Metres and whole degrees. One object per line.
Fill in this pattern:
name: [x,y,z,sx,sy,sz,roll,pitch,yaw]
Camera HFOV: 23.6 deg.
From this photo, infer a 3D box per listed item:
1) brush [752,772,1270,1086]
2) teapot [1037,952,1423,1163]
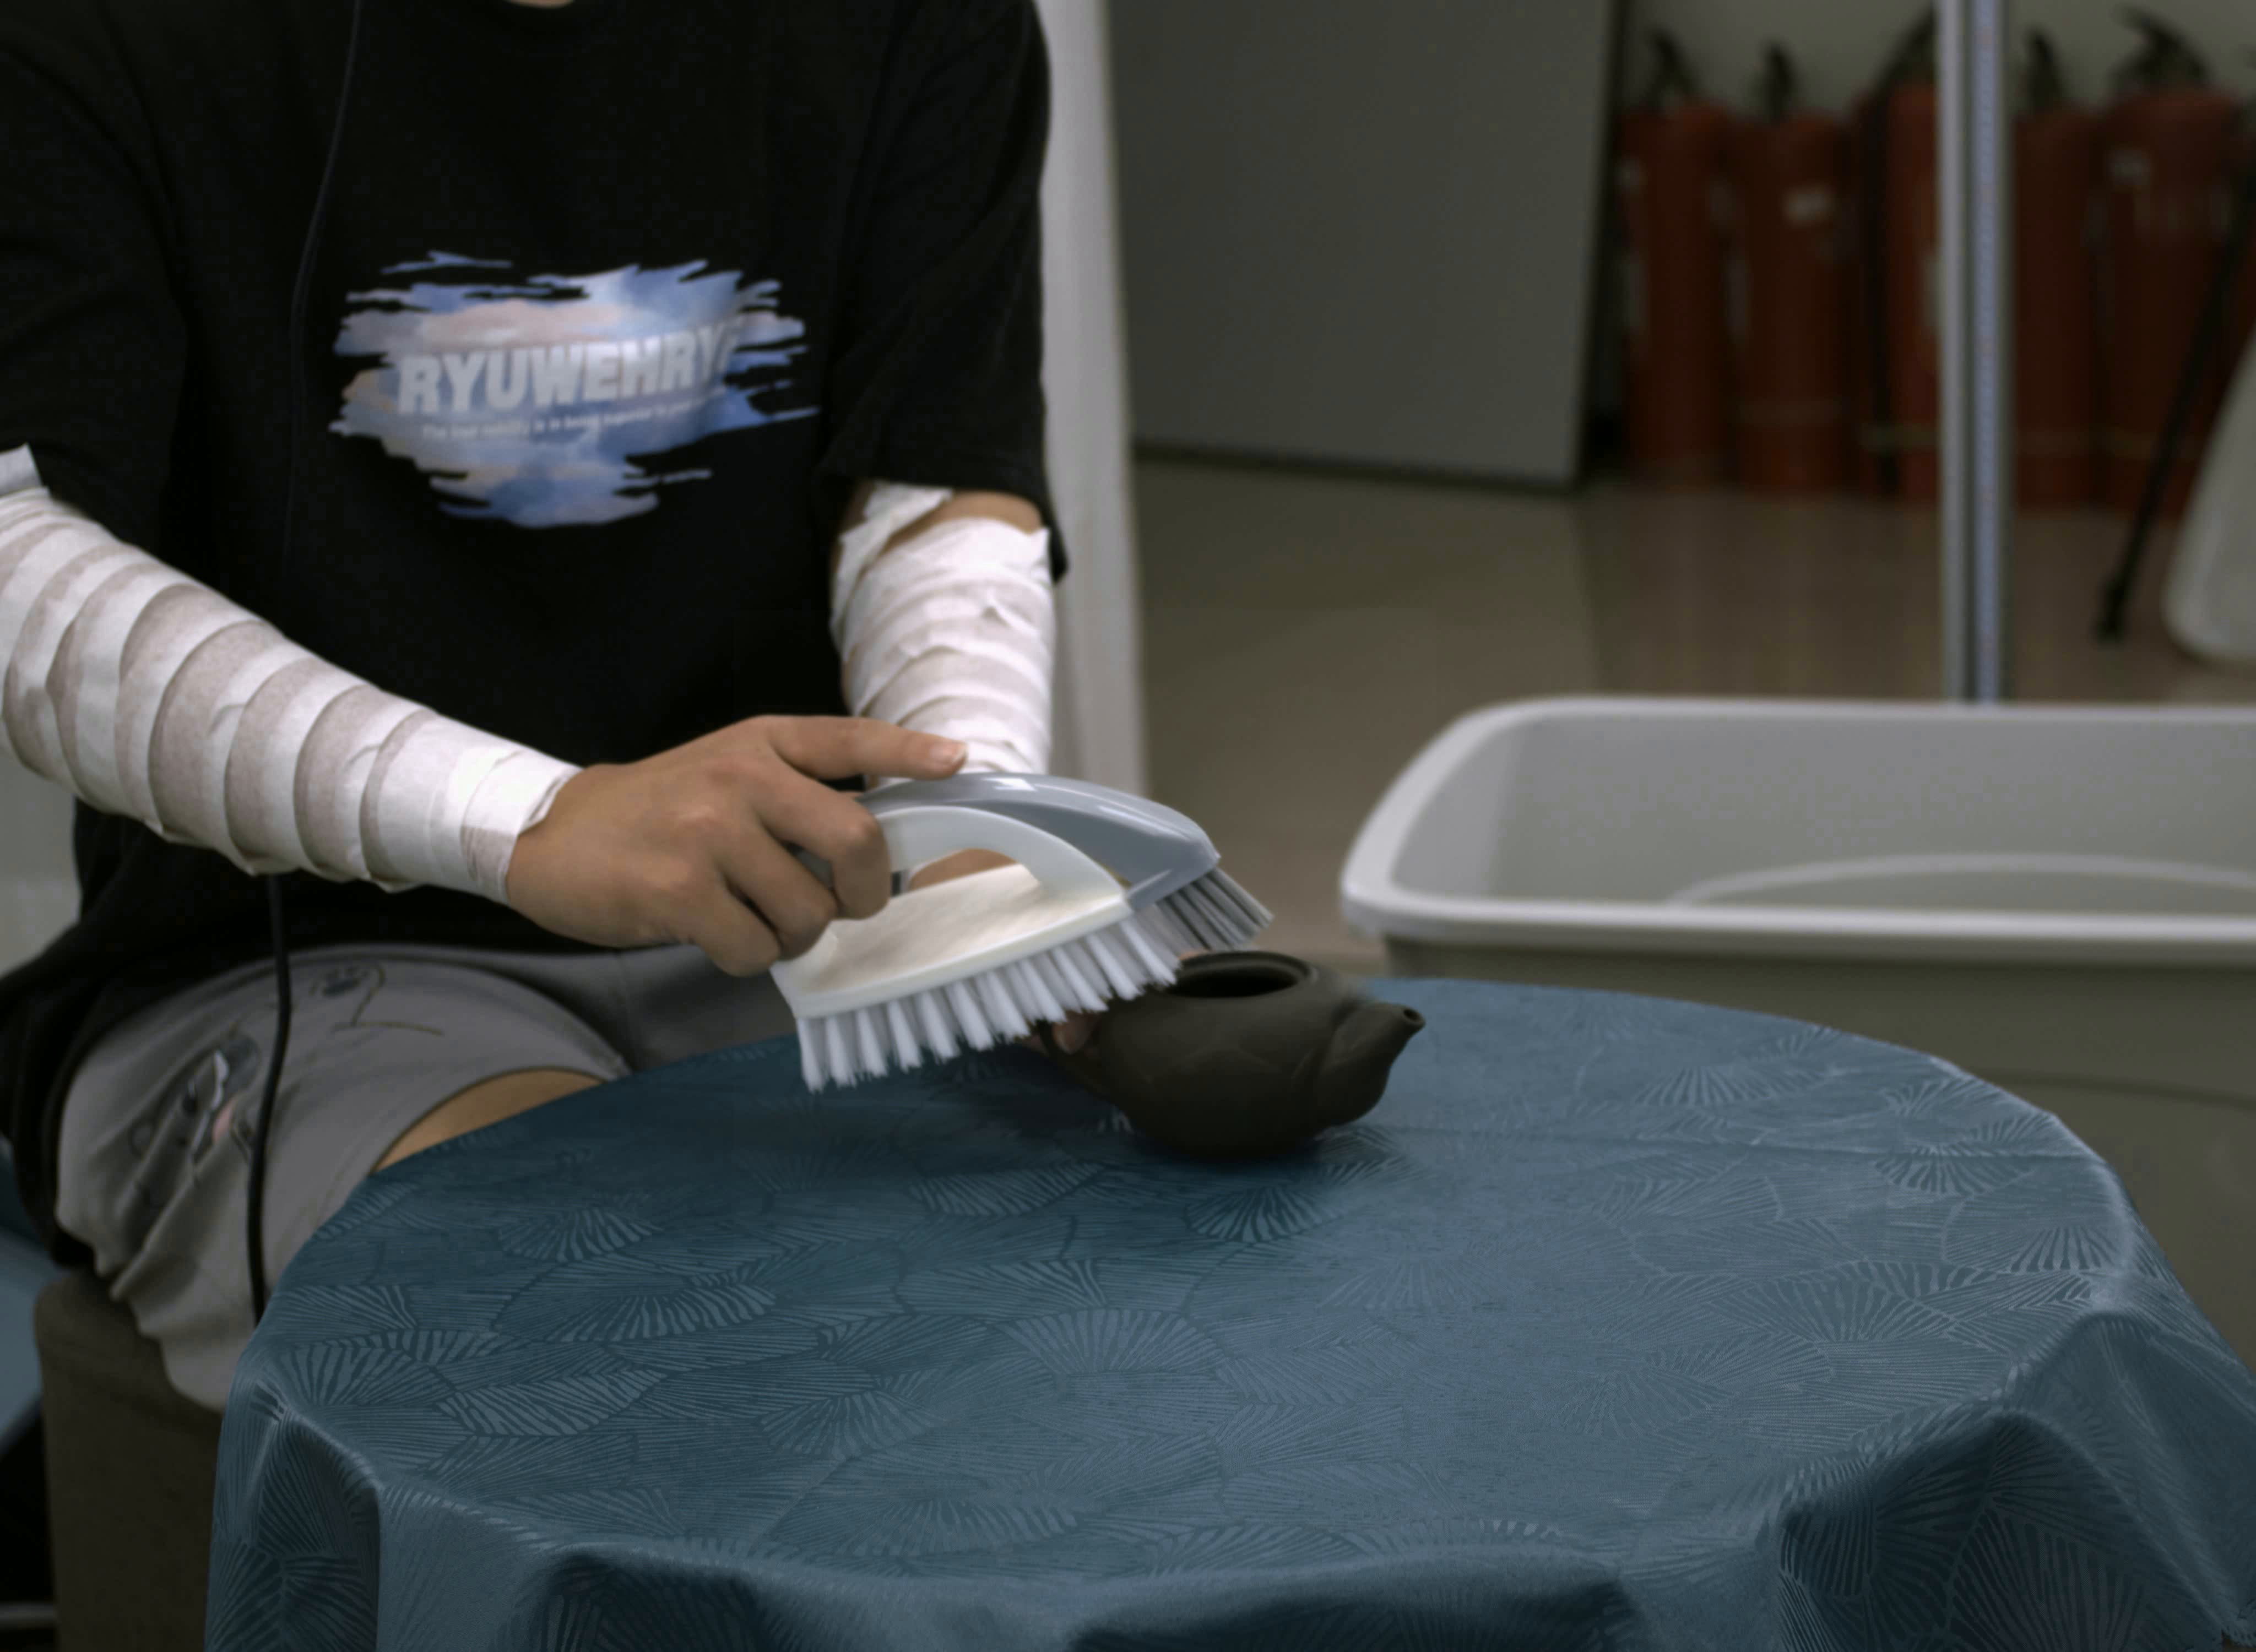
brush: [-0.046,0.022,1.807,0.176,0.094,0.061,-16,28,25]
teapot: [0.033,0.076,1.814,0.155,0.065,0.091,7,17,34]
